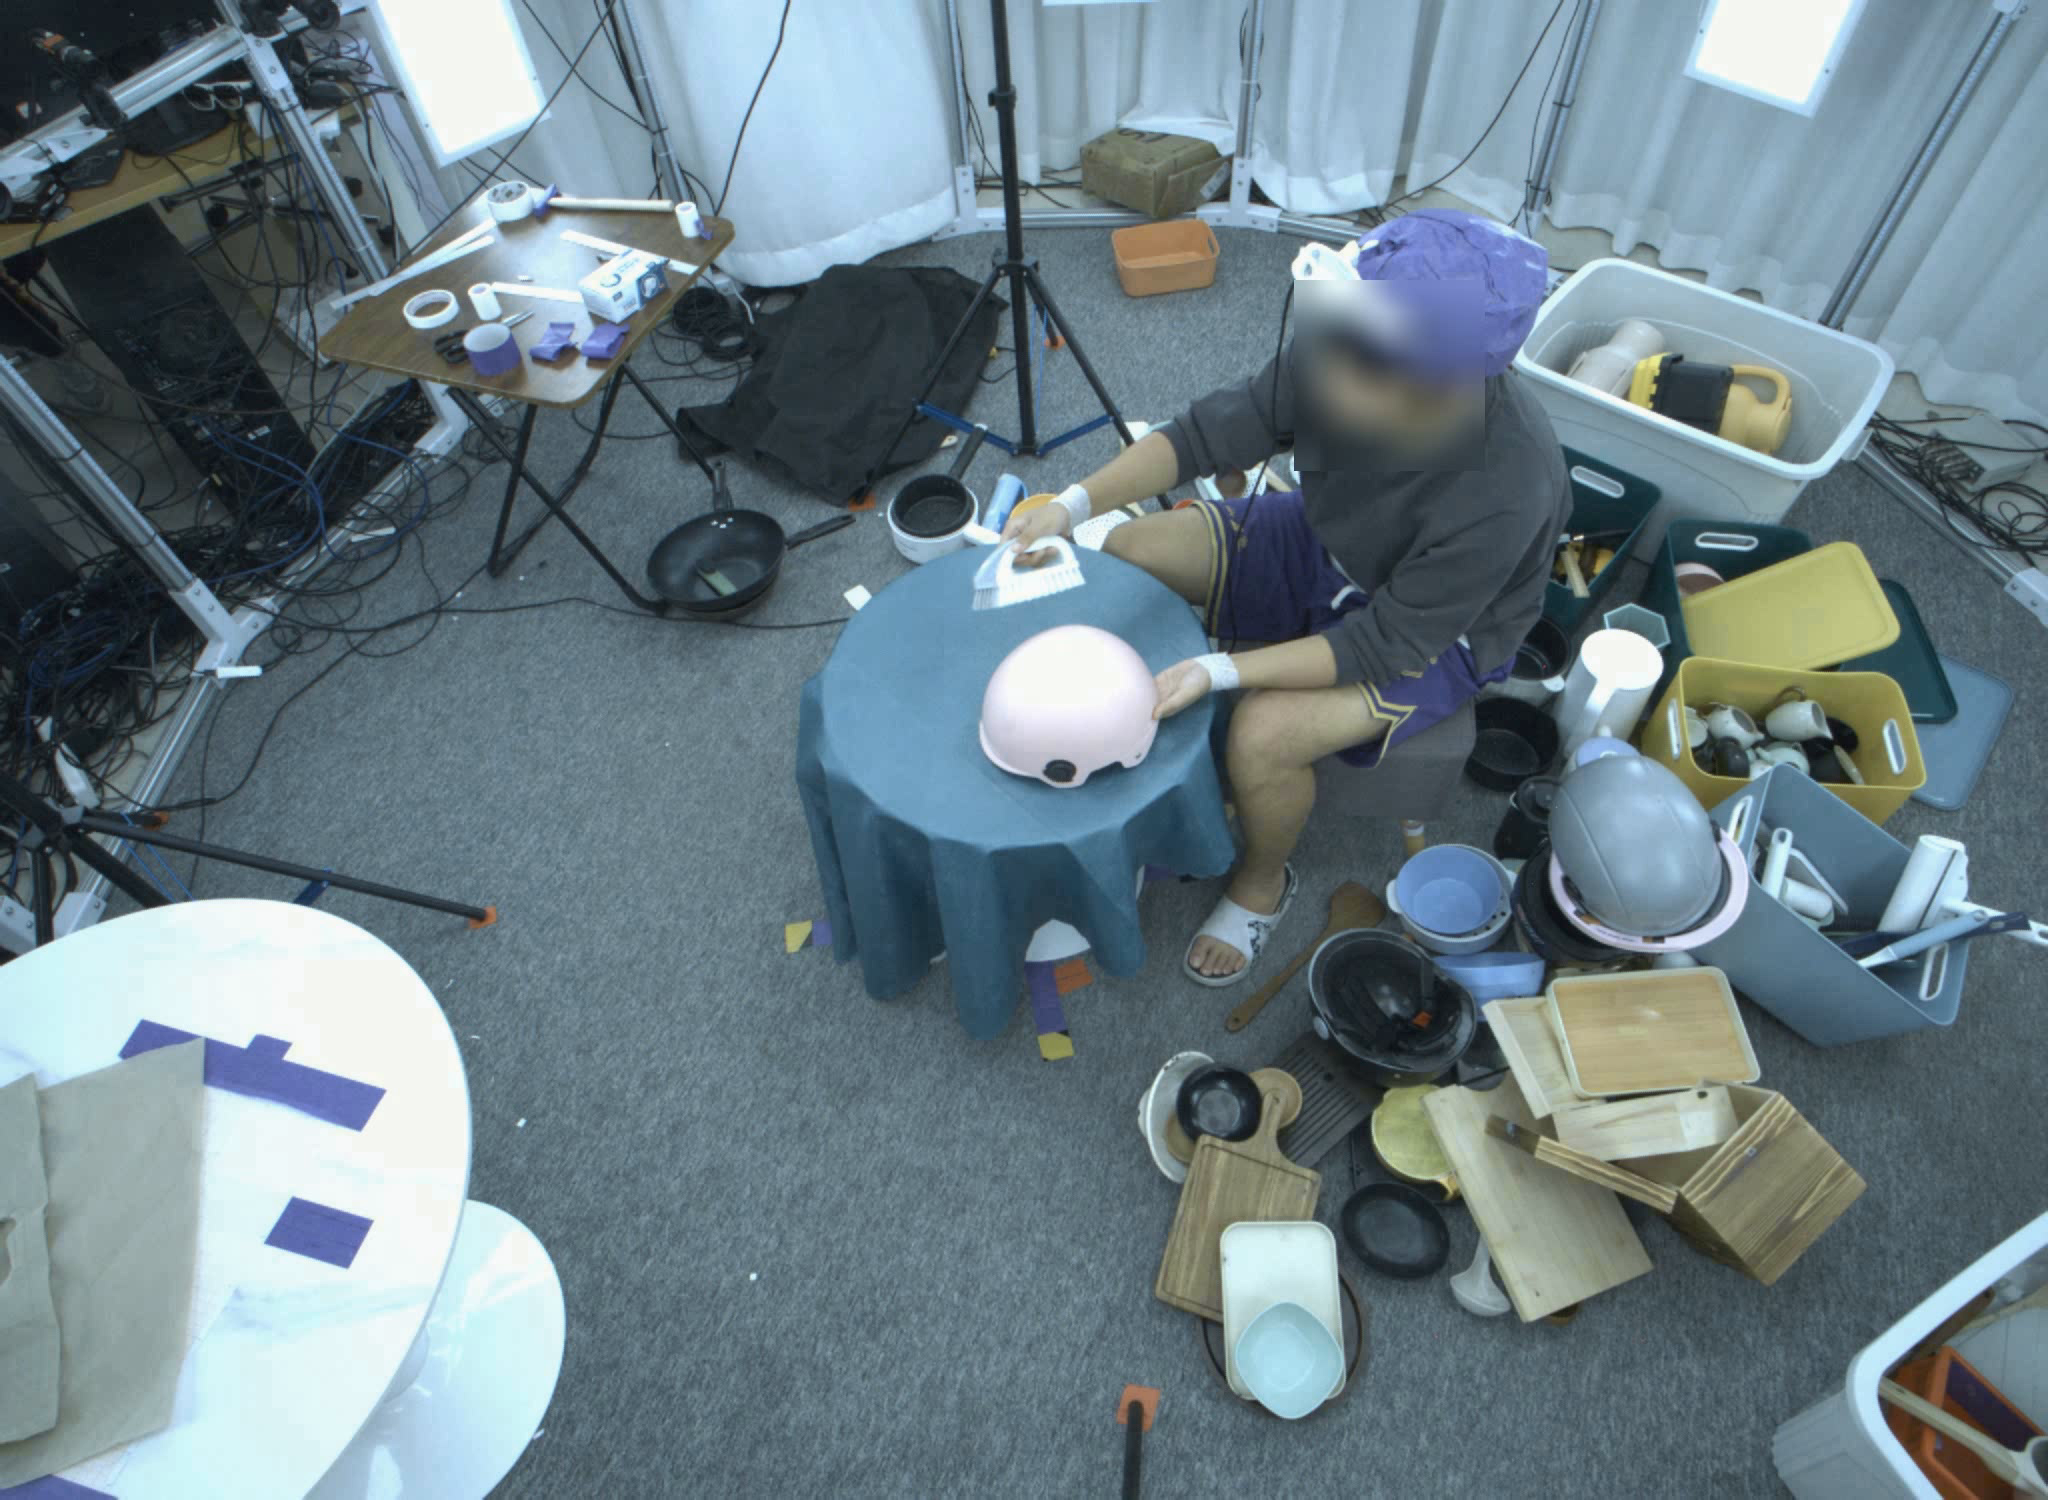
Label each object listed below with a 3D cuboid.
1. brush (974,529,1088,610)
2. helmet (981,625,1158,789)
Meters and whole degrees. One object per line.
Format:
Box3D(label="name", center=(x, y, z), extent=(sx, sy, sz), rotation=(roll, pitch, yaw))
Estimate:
Box3D(label="brush", center=(-0.001, -0.256, 1.720), extent=(0.178, 0.095, 0.060), rotation=(-21, 14, -28))
Box3D(label="helmet", center=(0.055, -0.080, 1.751), extent=(0.266, 0.161, 0.231), rotation=(-12, 55, 2))
